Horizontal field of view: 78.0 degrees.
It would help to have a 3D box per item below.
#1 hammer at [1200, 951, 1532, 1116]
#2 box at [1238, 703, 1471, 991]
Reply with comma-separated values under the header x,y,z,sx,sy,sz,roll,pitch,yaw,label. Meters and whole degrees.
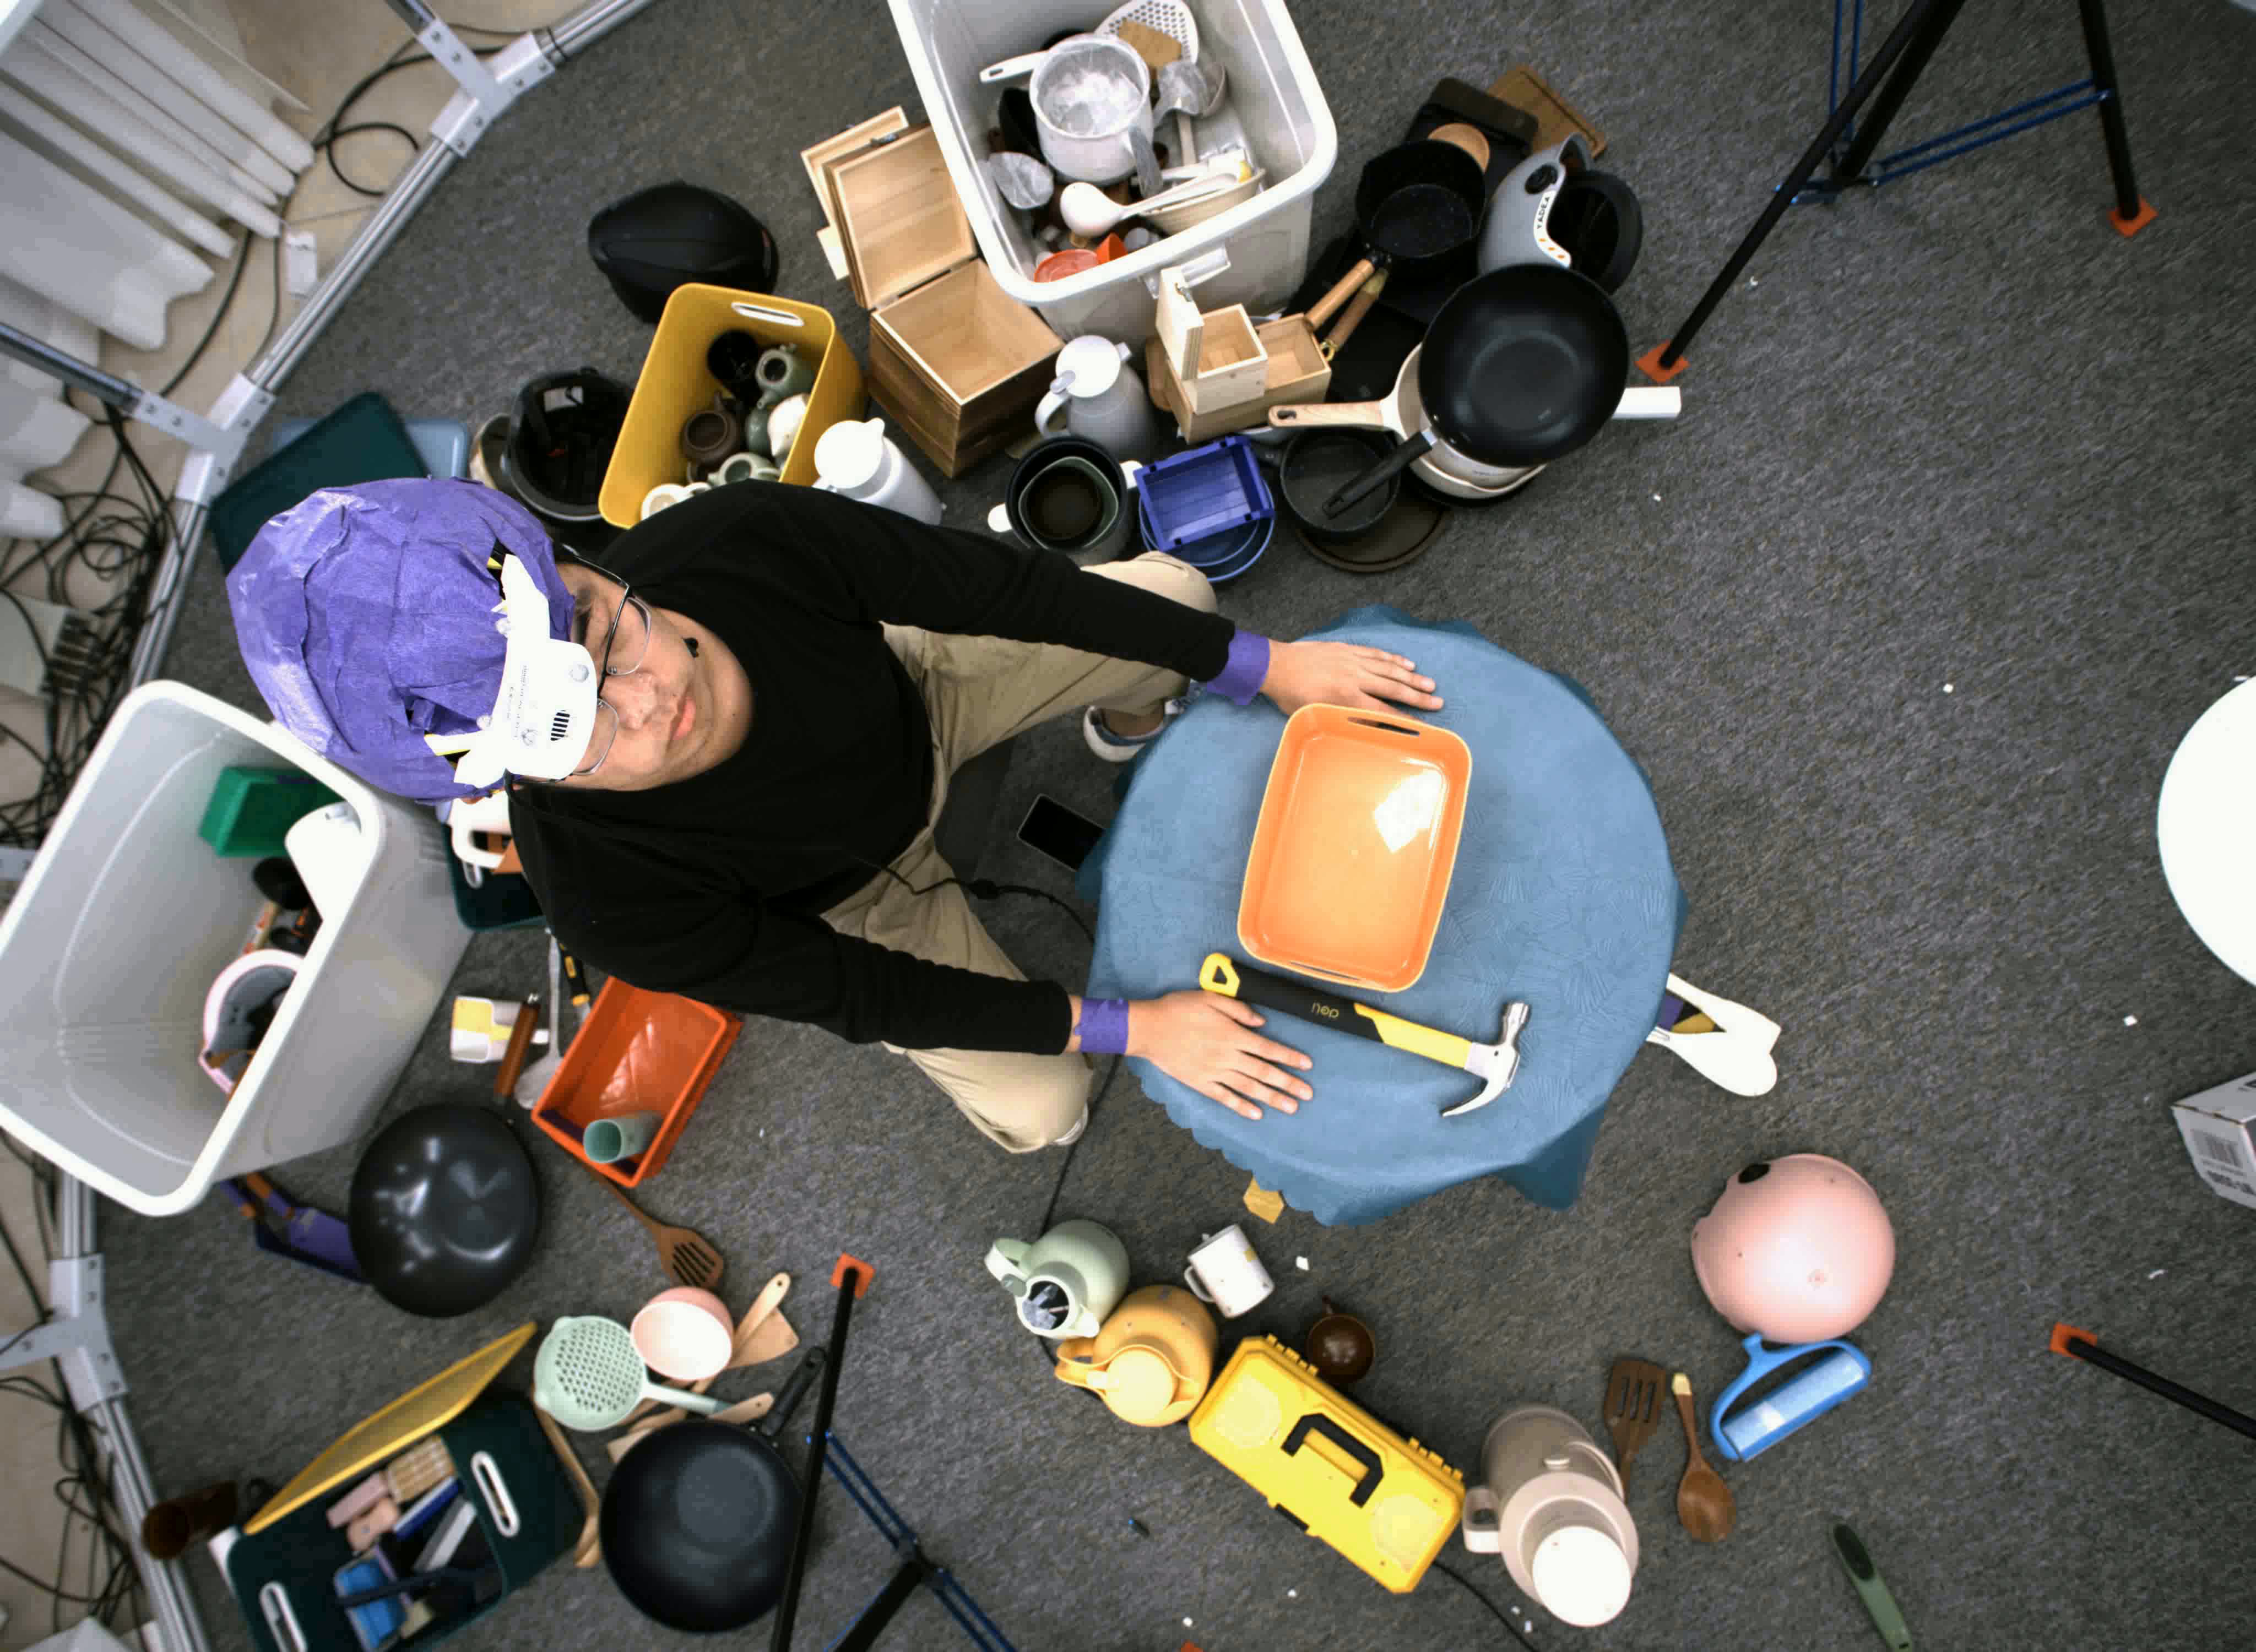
x,y,z,sx,sy,sz,roll,pitch,yaw,label
0.238,0.199,1.443,0.338,0.032,0.131,18,90,10,hammer
0.232,0.023,1.419,0.200,0.102,0.272,13,89,12,box
